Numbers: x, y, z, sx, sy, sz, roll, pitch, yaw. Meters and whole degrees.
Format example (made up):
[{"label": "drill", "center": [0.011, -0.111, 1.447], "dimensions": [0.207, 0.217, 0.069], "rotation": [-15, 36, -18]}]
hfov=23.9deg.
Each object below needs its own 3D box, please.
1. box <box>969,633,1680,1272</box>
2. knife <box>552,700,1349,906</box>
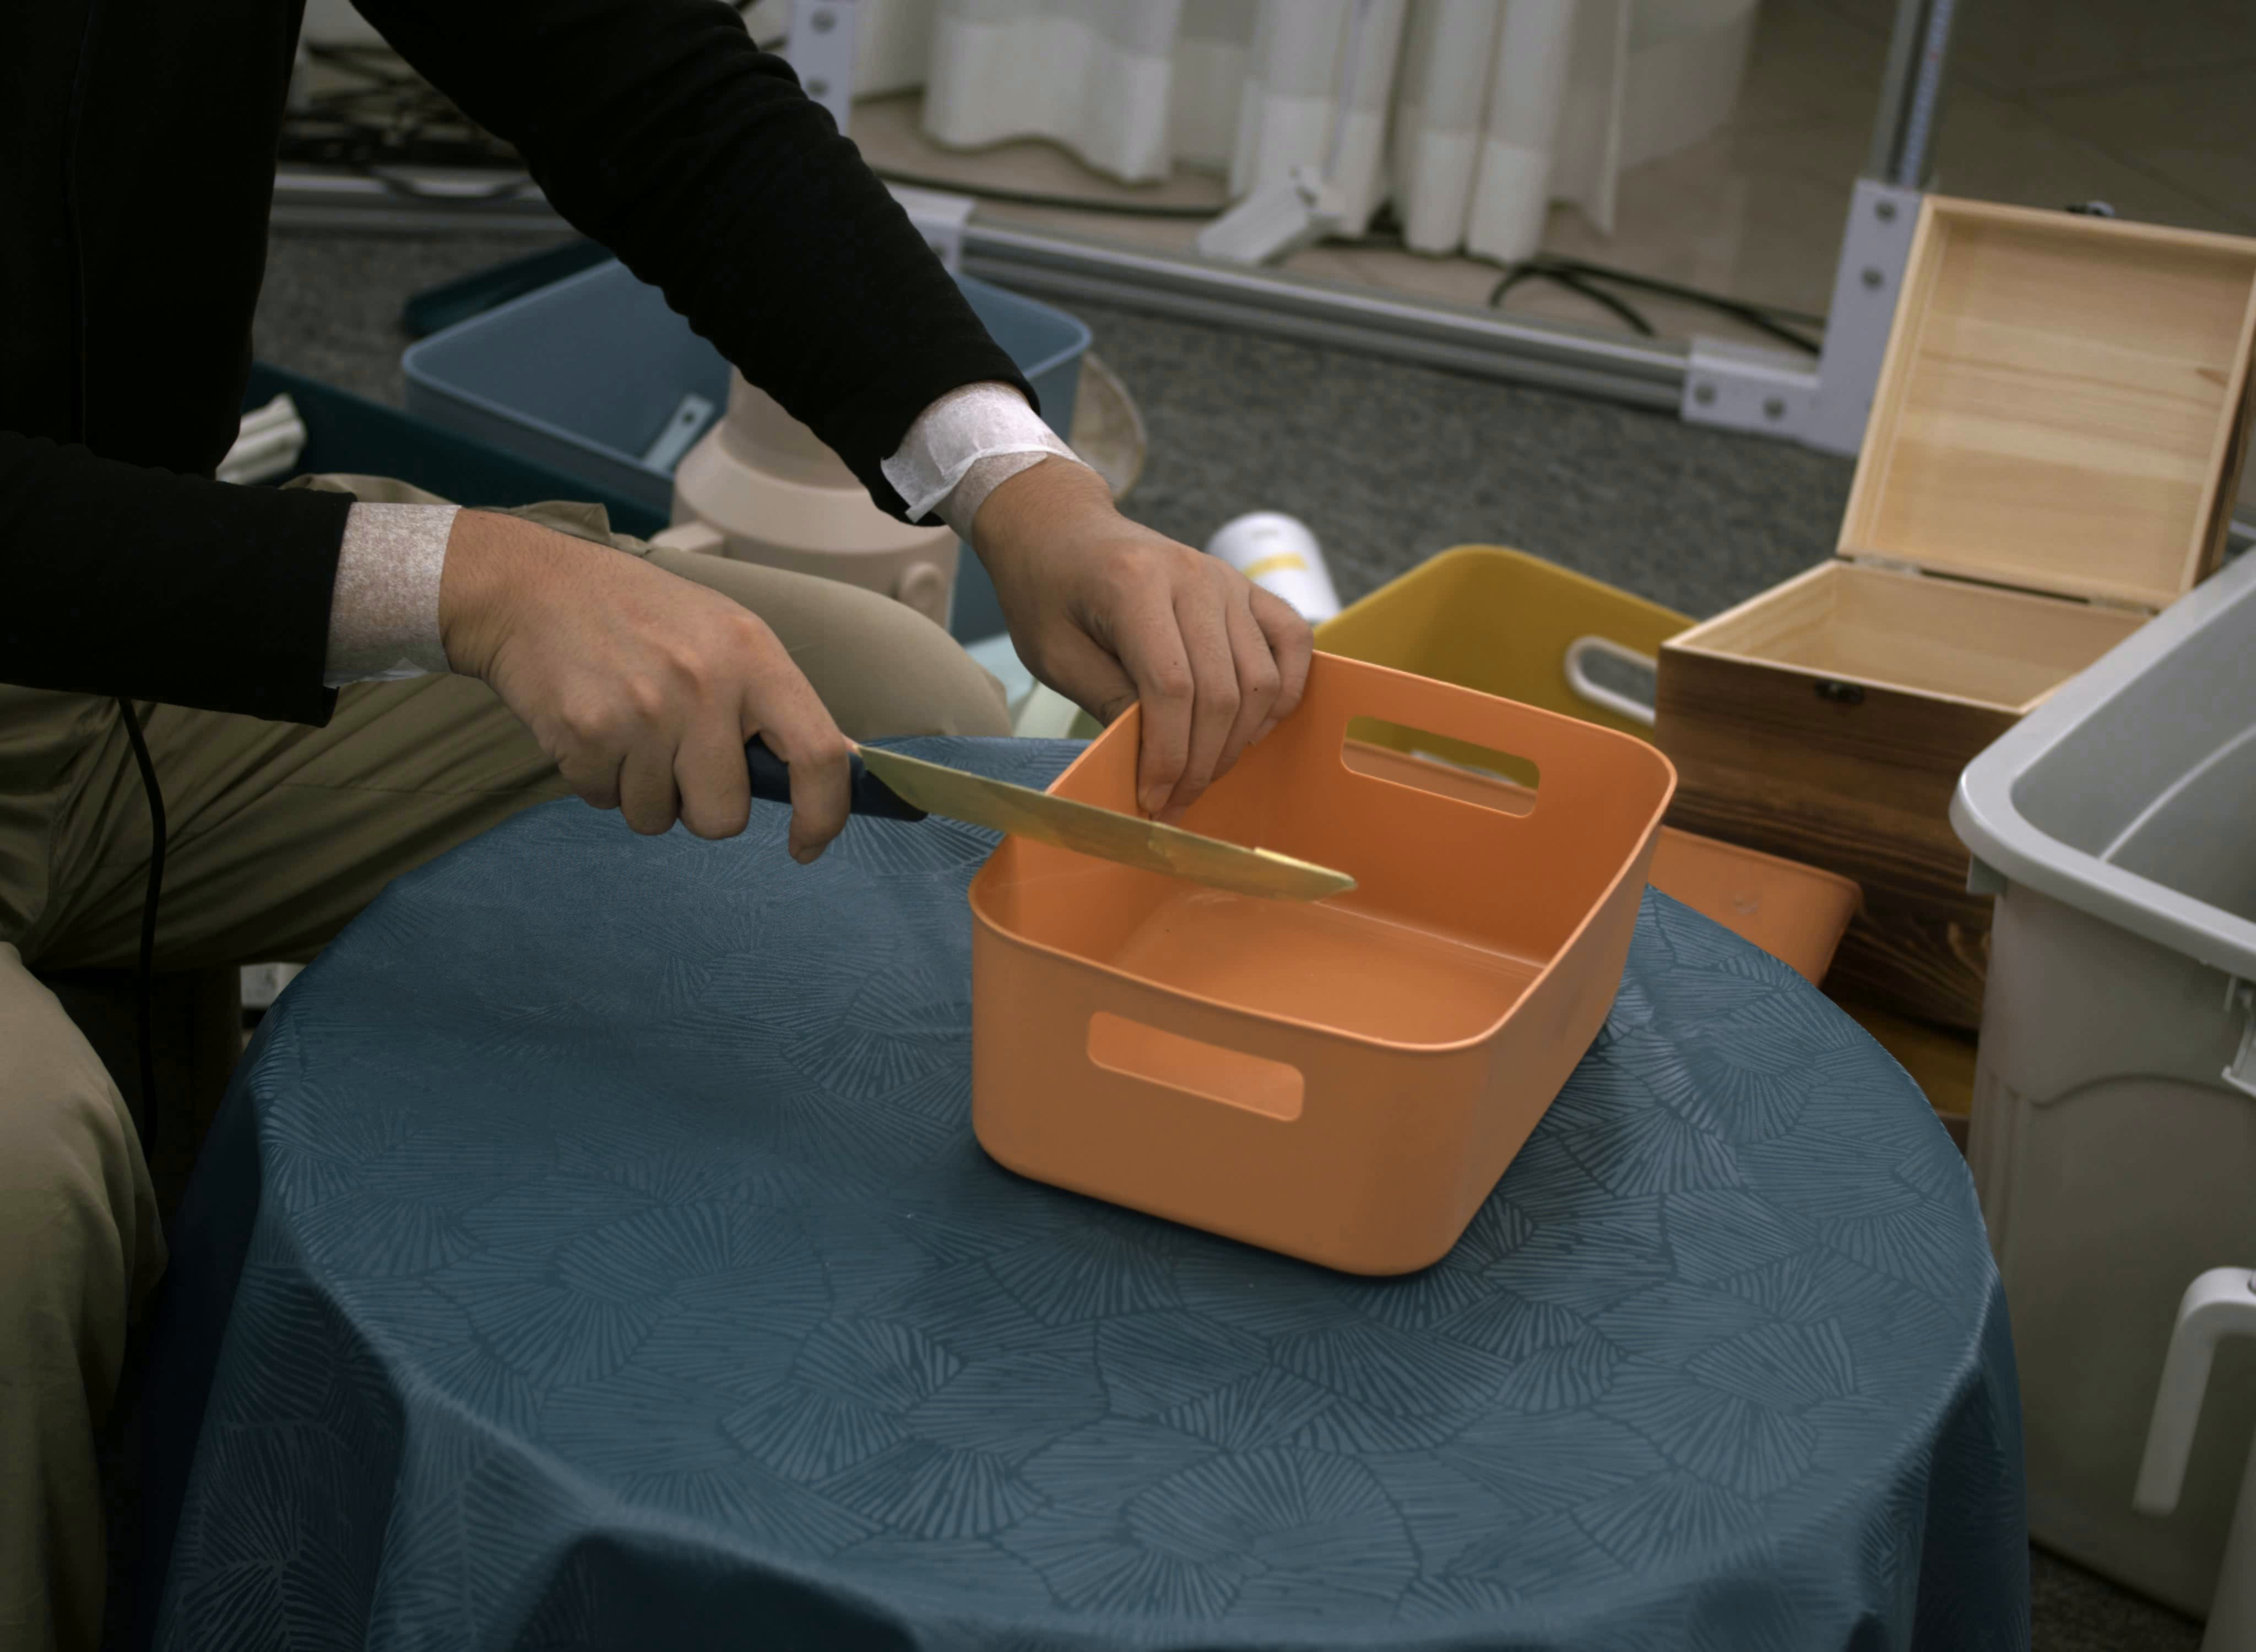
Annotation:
[{"label": "box", "center": [0.065, 0.043, 1.860], "dimensions": [0.200, 0.102, 0.273], "rotation": [16, 29, 16]}, {"label": "knife", "center": [-0.063, -0.008, 1.784], "dimensions": [0.290, 0.027, 0.080], "rotation": [12, -16, 16]}]
